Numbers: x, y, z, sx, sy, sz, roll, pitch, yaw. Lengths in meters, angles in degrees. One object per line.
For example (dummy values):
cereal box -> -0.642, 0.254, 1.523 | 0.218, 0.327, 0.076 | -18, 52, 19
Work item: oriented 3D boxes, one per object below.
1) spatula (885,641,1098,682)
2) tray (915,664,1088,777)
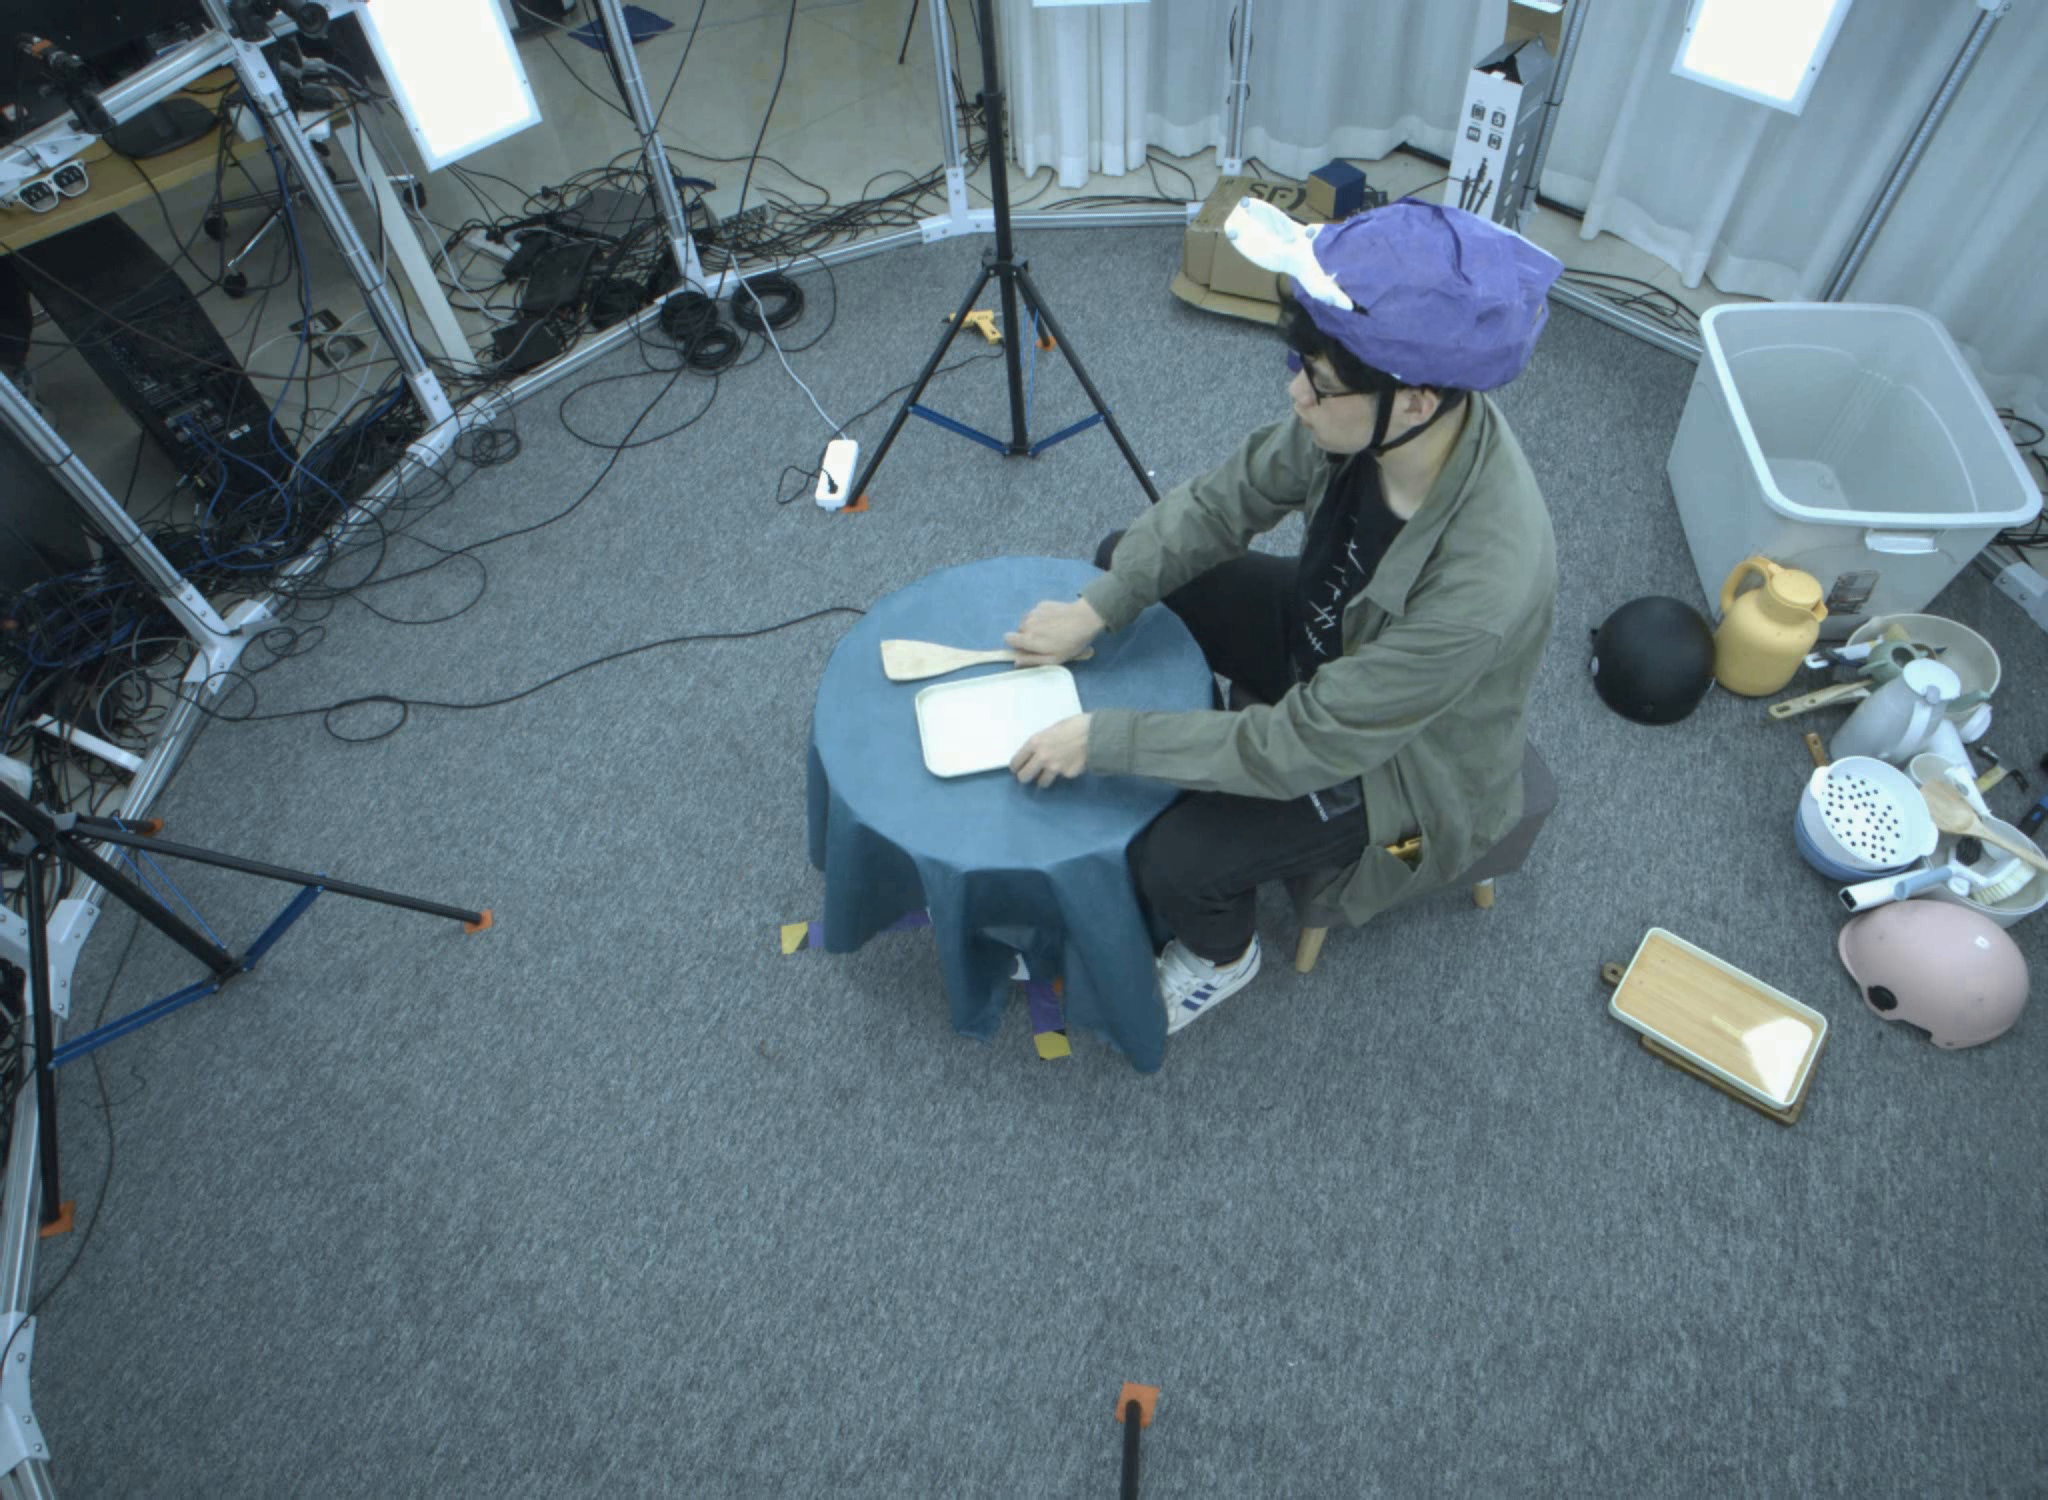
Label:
spatula -> -0.051, -0.145, 1.886 | 0.328, 0.017, 0.079 | -4, 55, -1
tray -> -0.035, -0.043, 1.813 | 0.241, 0.017, 0.169 | -10, 56, -6
